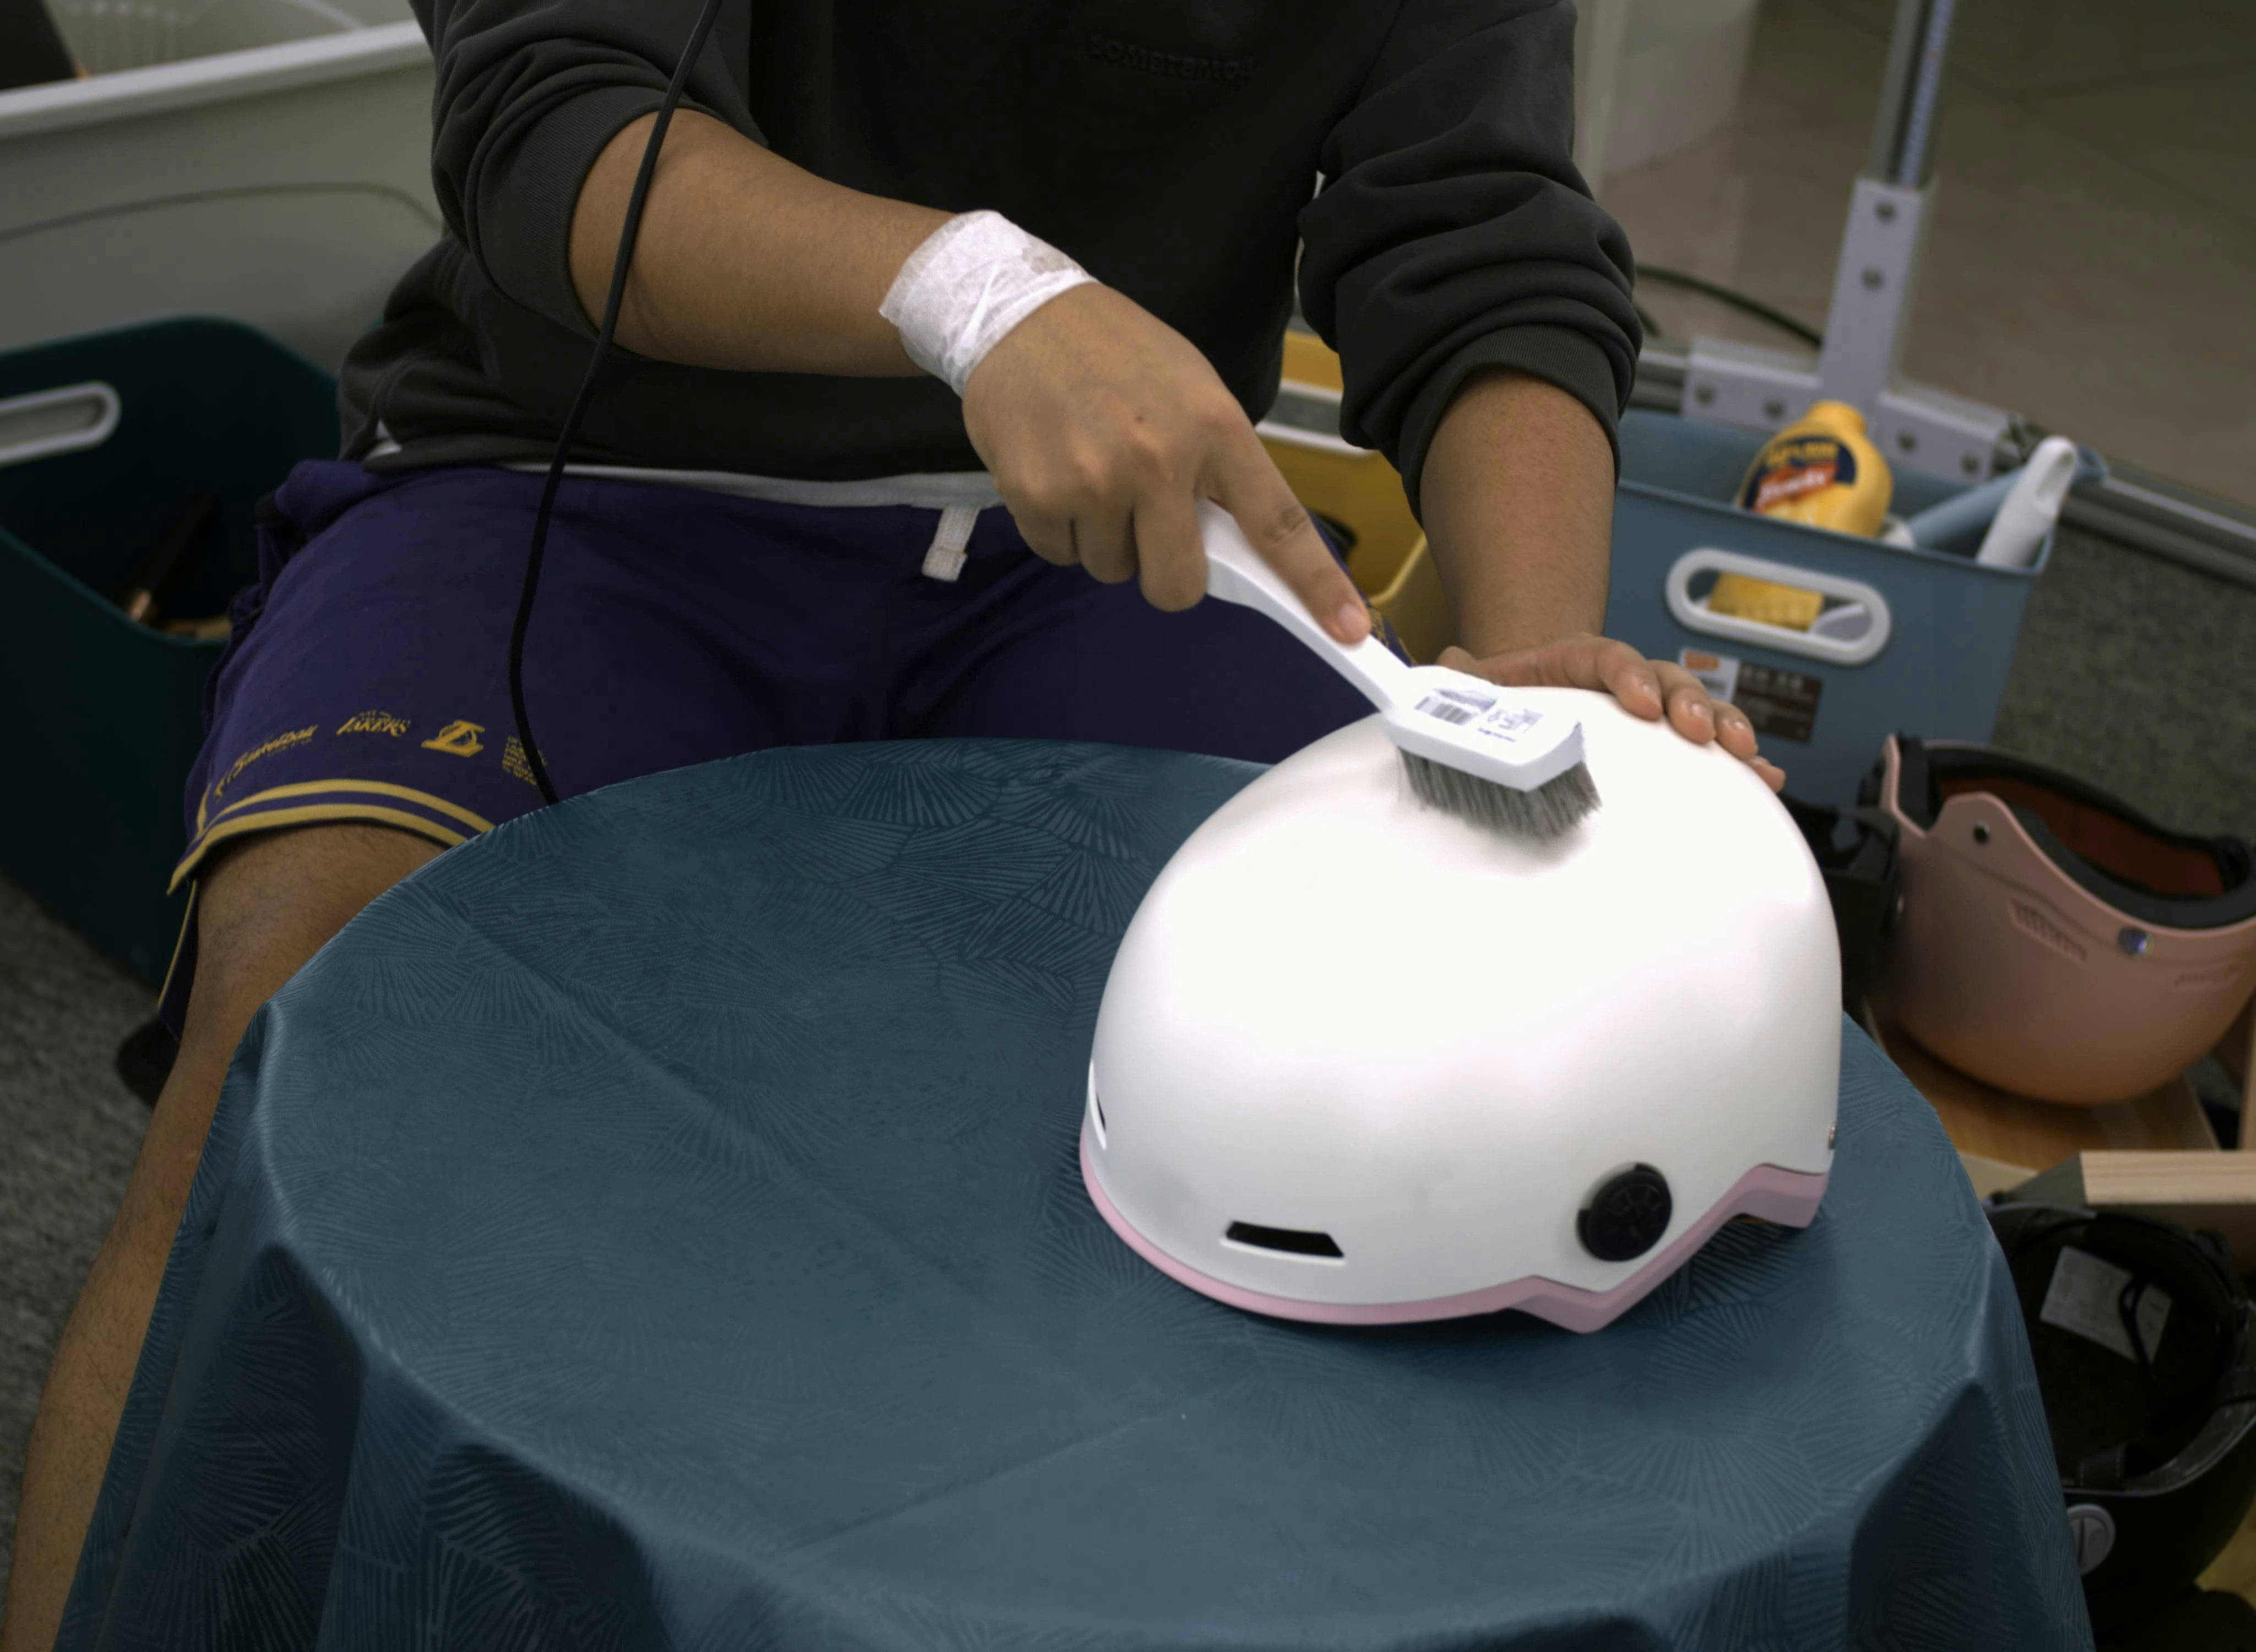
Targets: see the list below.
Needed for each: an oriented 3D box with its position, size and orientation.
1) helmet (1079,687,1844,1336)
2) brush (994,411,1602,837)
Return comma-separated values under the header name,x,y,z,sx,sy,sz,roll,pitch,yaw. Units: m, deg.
name,x,y,z,sx,sy,sz,roll,pitch,yaw
helmet,0.120,0.047,1.799,0.267,0.166,0.239,-12,33,-32
brush,0.052,-0.066,1.764,0.245,0.050,0.034,31,54,25
